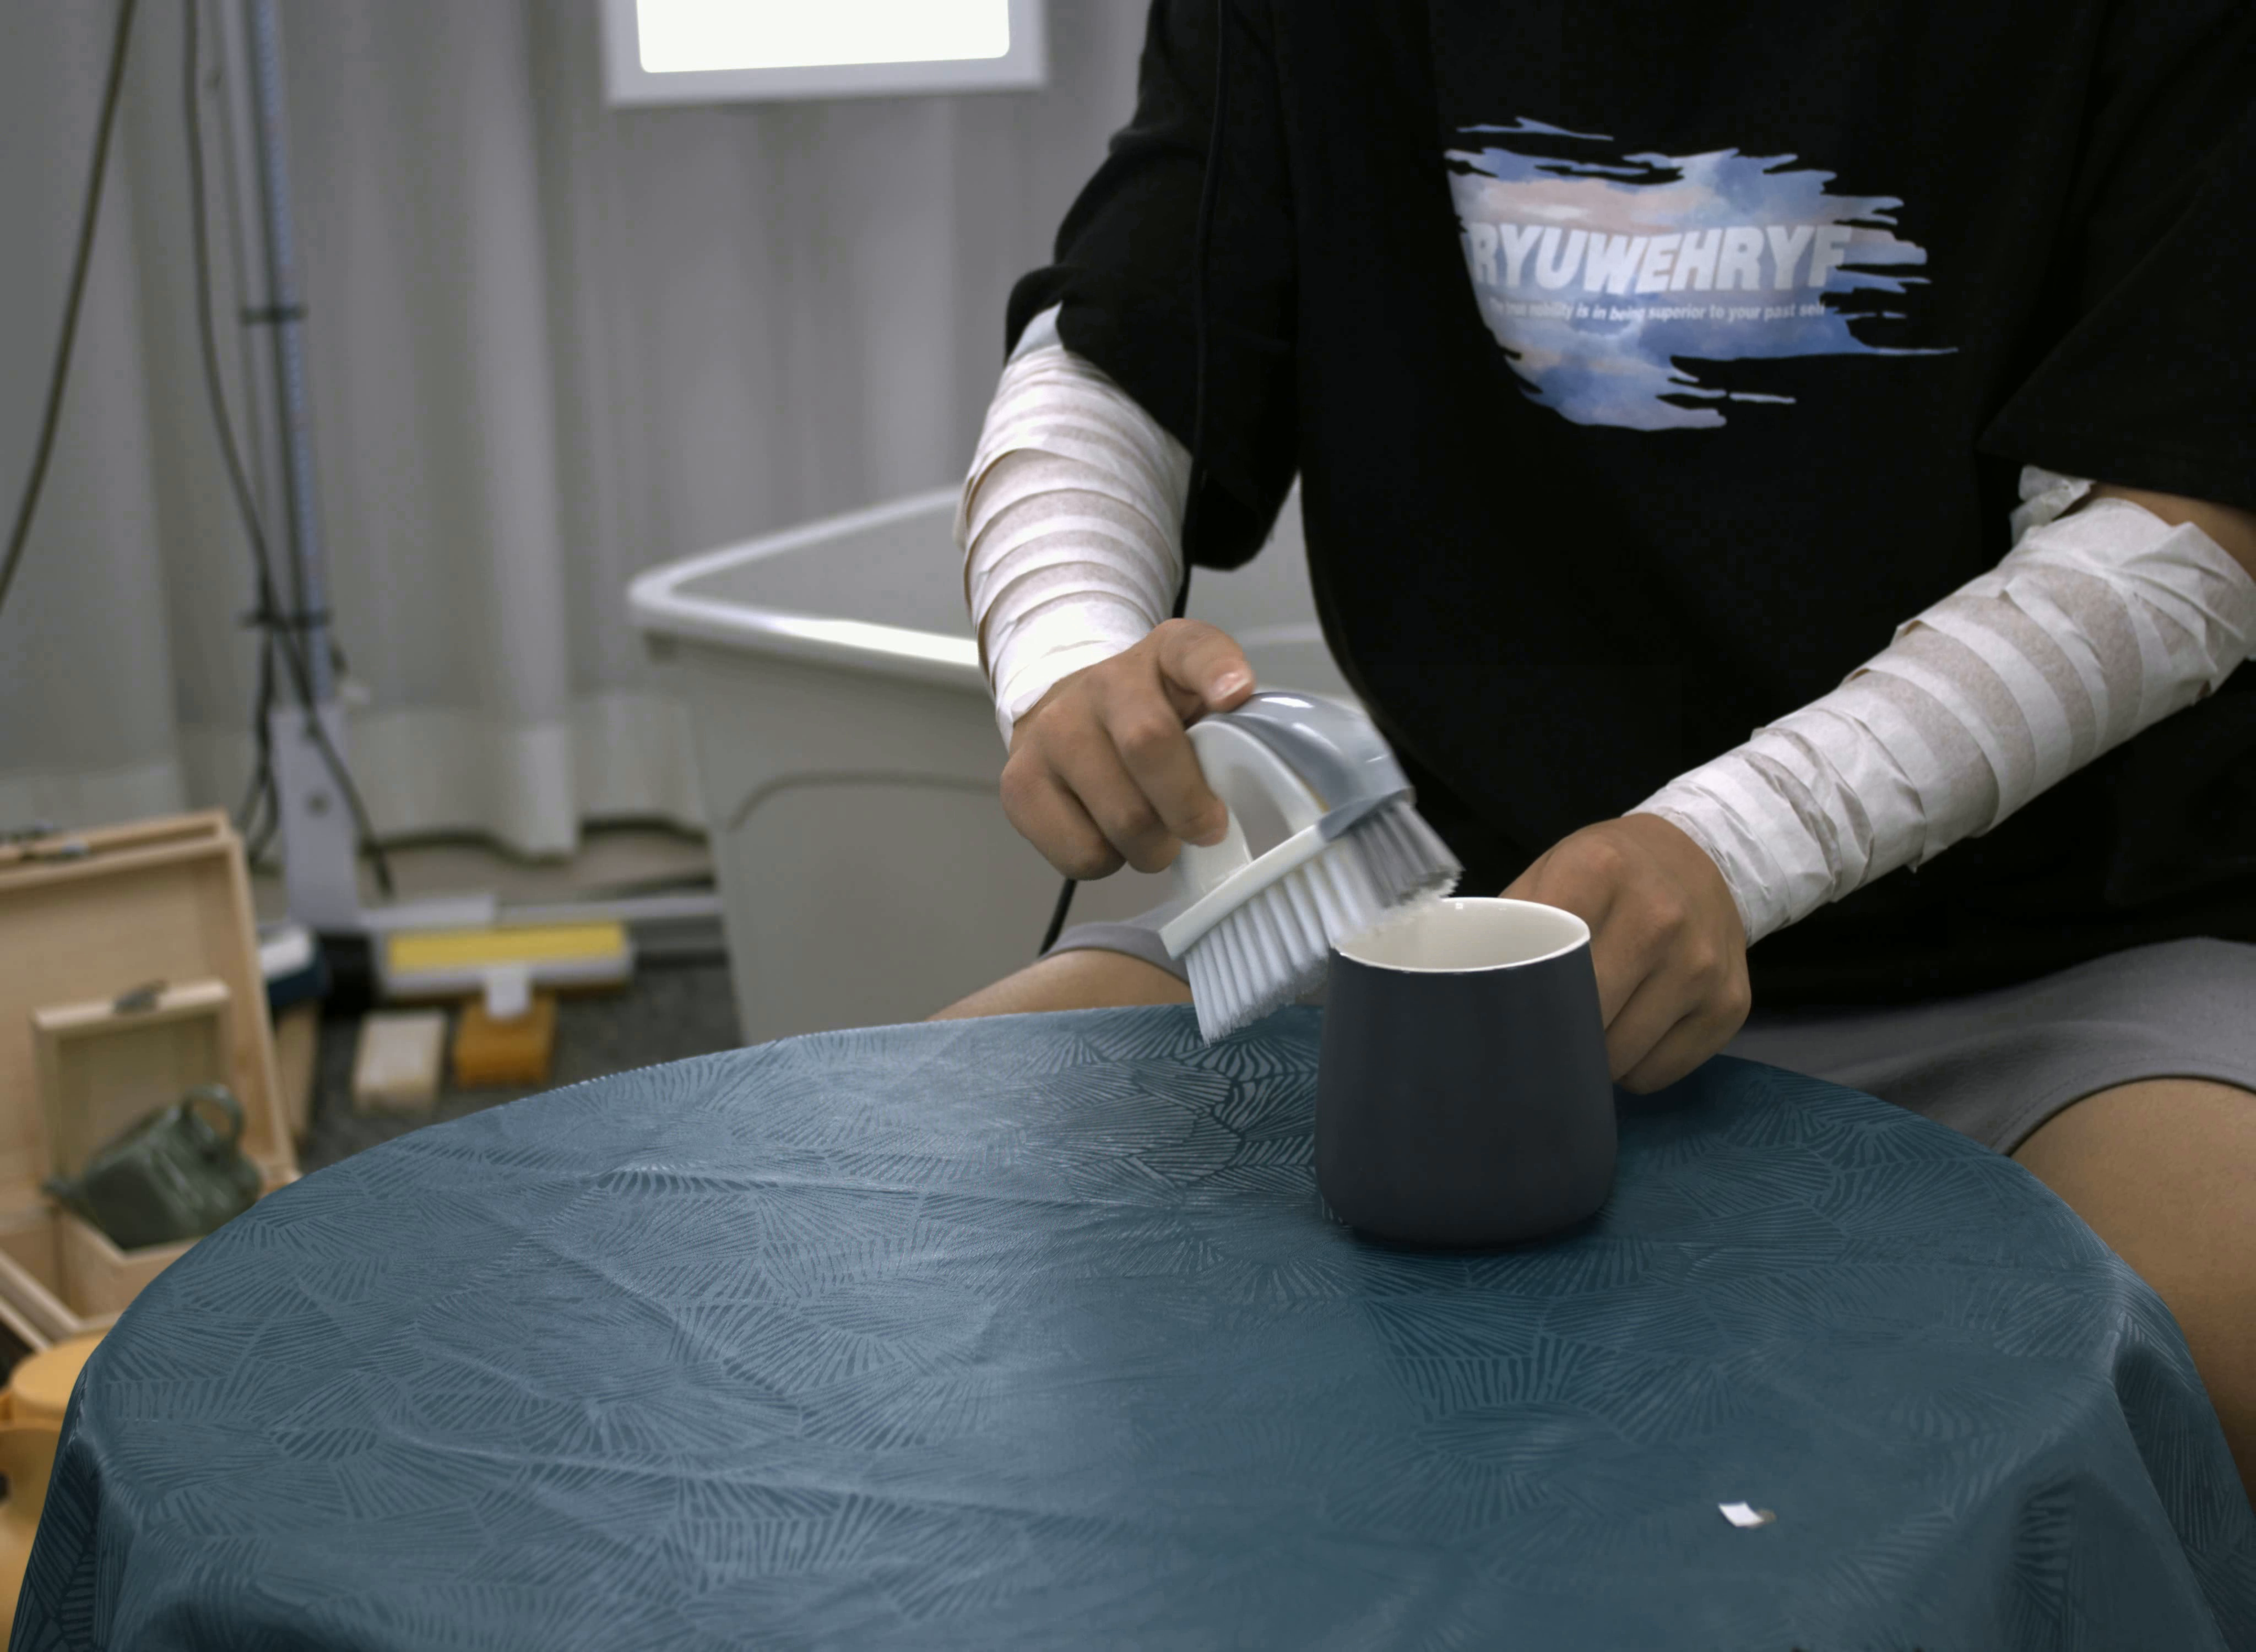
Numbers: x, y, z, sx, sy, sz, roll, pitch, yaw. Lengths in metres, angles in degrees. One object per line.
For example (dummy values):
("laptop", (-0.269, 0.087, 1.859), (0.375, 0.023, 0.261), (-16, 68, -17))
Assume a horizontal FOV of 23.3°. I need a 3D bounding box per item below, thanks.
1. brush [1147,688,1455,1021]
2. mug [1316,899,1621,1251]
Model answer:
("brush", (0.050, -0.002, 1.692), (0.061, 0.094, 0.175), (-28, -4, -19))
("mug", (0.106, 0.072, 1.680), (0.093, 0.089, 0.124), (0, 14, 12))
